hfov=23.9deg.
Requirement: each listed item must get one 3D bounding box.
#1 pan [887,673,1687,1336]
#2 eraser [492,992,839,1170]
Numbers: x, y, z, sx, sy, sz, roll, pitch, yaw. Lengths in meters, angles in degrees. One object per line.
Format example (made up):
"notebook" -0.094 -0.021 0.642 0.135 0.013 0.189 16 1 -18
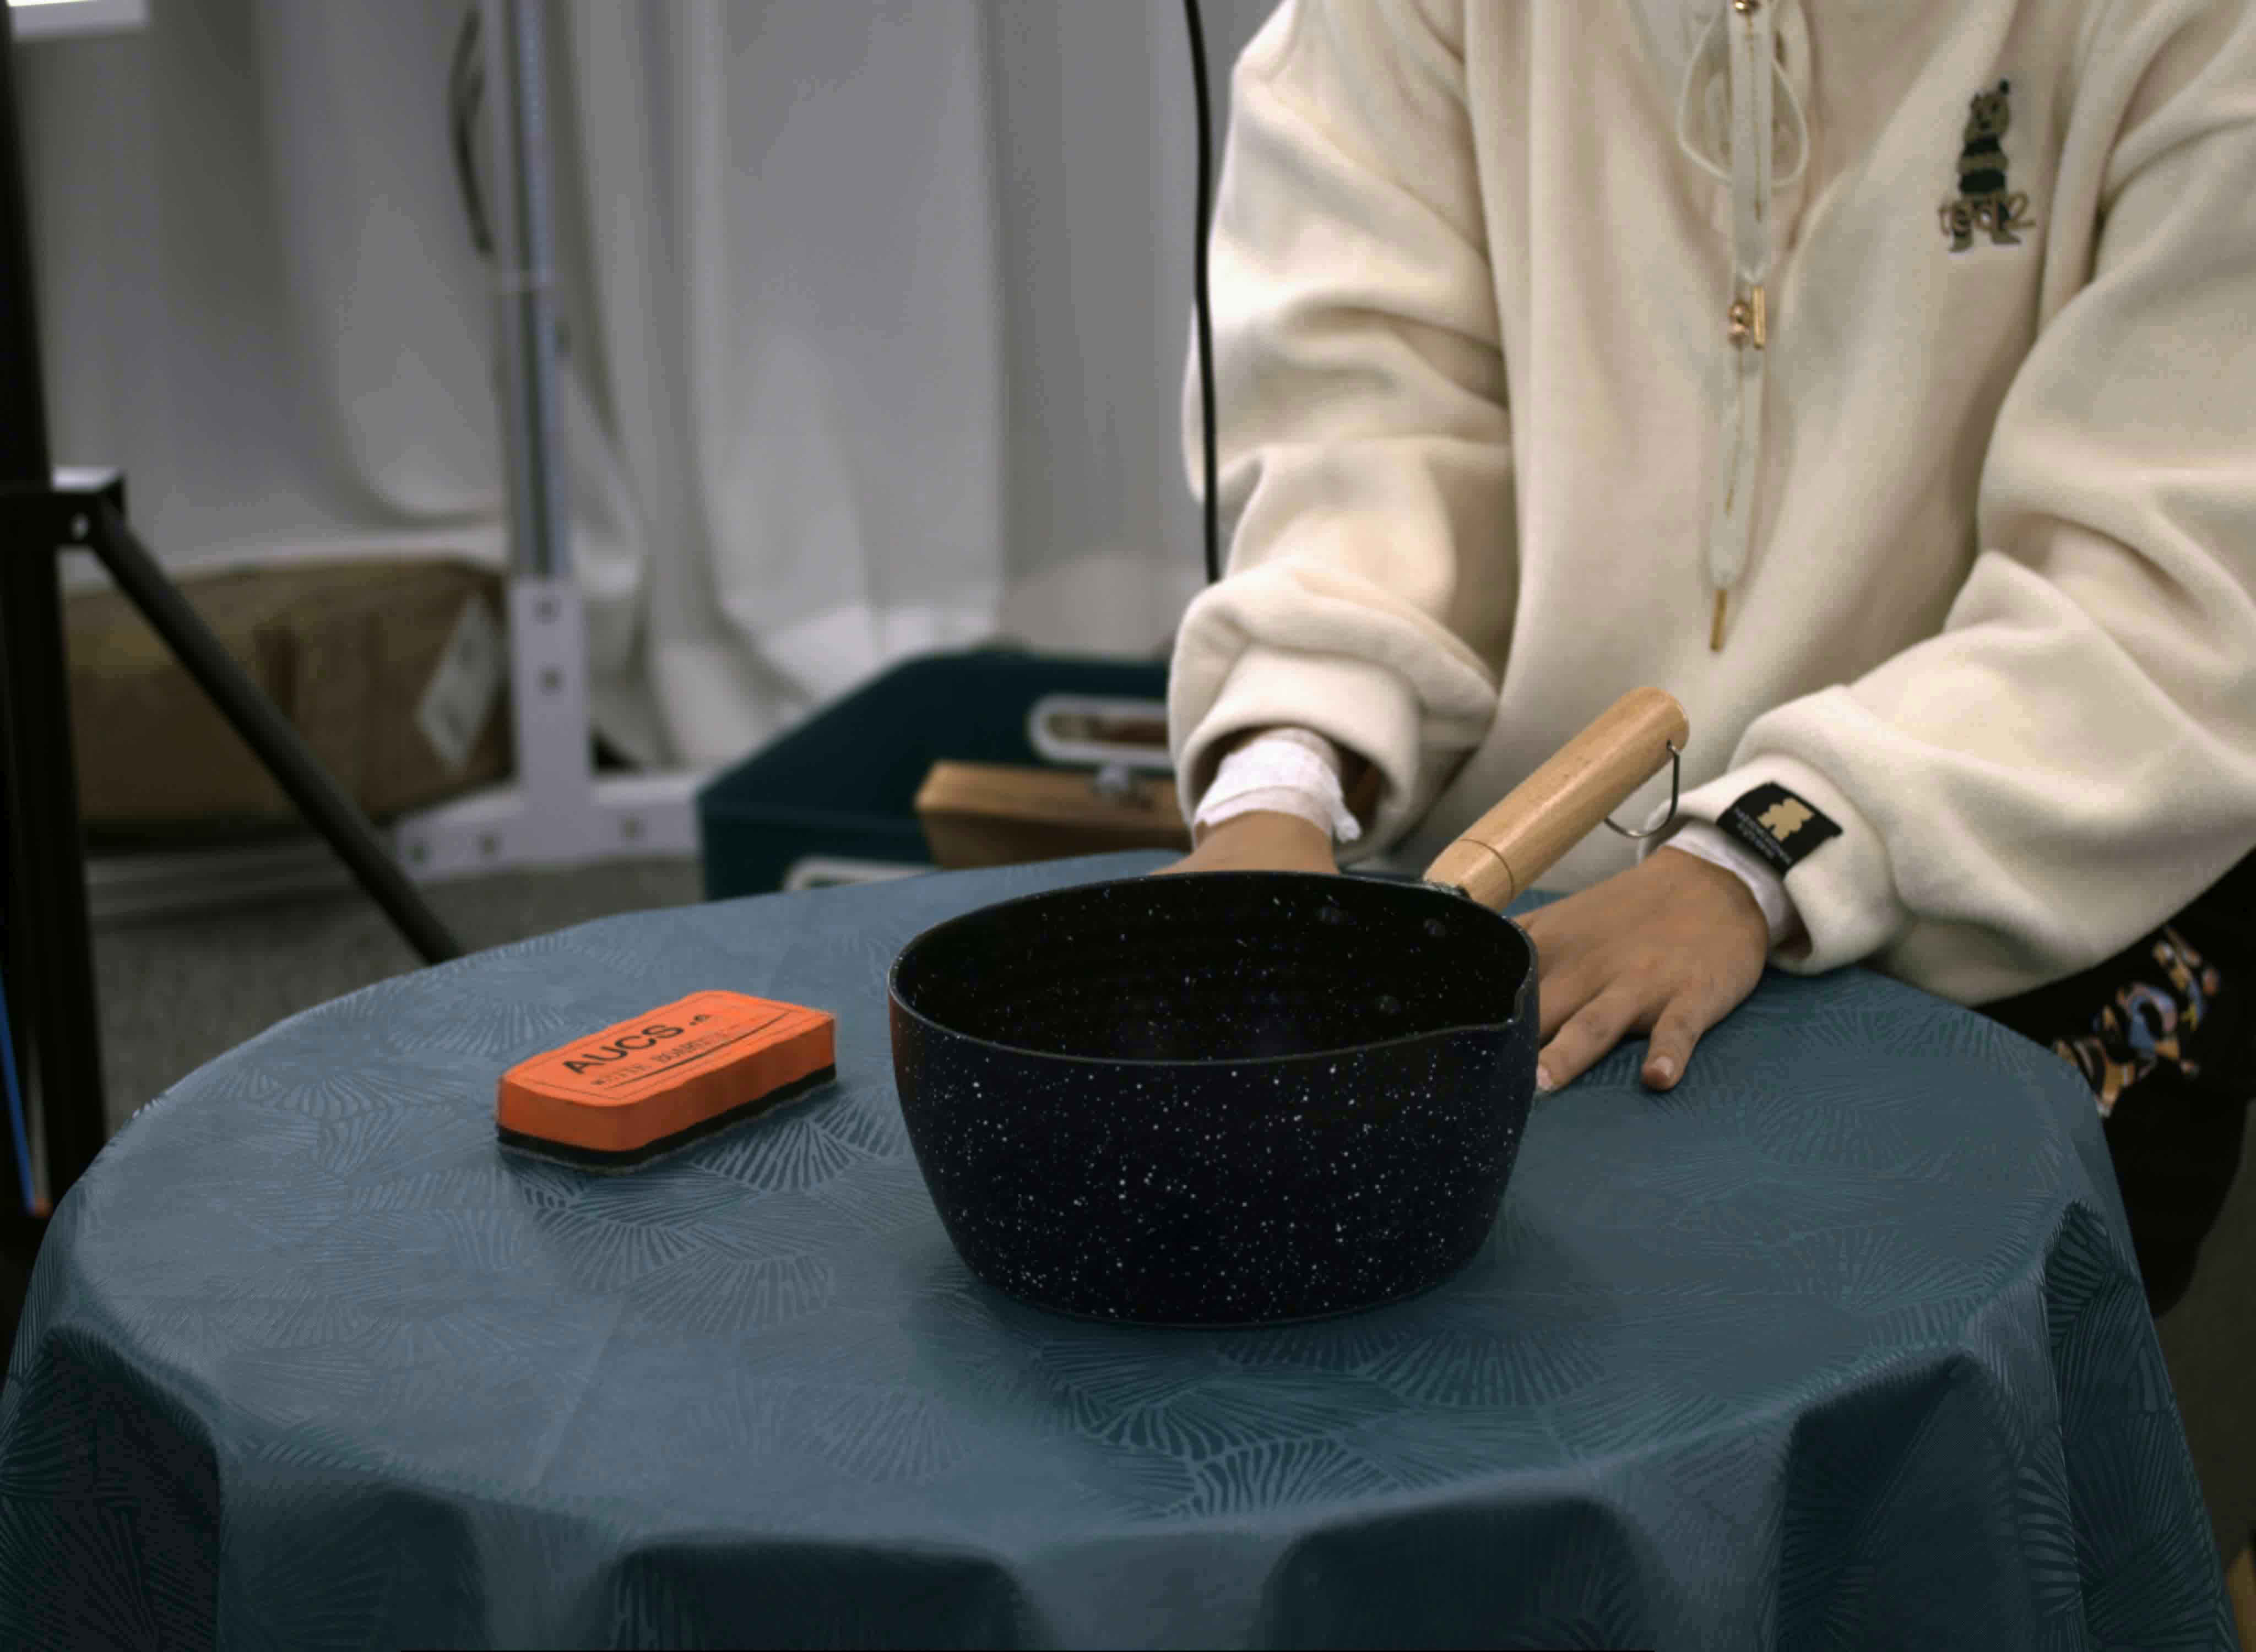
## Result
"pan" 0.070 0.048 1.561 0.211 0.108 0.336 7 20 35
"eraser" -0.142 0.078 1.643 0.060 0.023 0.106 9 20 38
